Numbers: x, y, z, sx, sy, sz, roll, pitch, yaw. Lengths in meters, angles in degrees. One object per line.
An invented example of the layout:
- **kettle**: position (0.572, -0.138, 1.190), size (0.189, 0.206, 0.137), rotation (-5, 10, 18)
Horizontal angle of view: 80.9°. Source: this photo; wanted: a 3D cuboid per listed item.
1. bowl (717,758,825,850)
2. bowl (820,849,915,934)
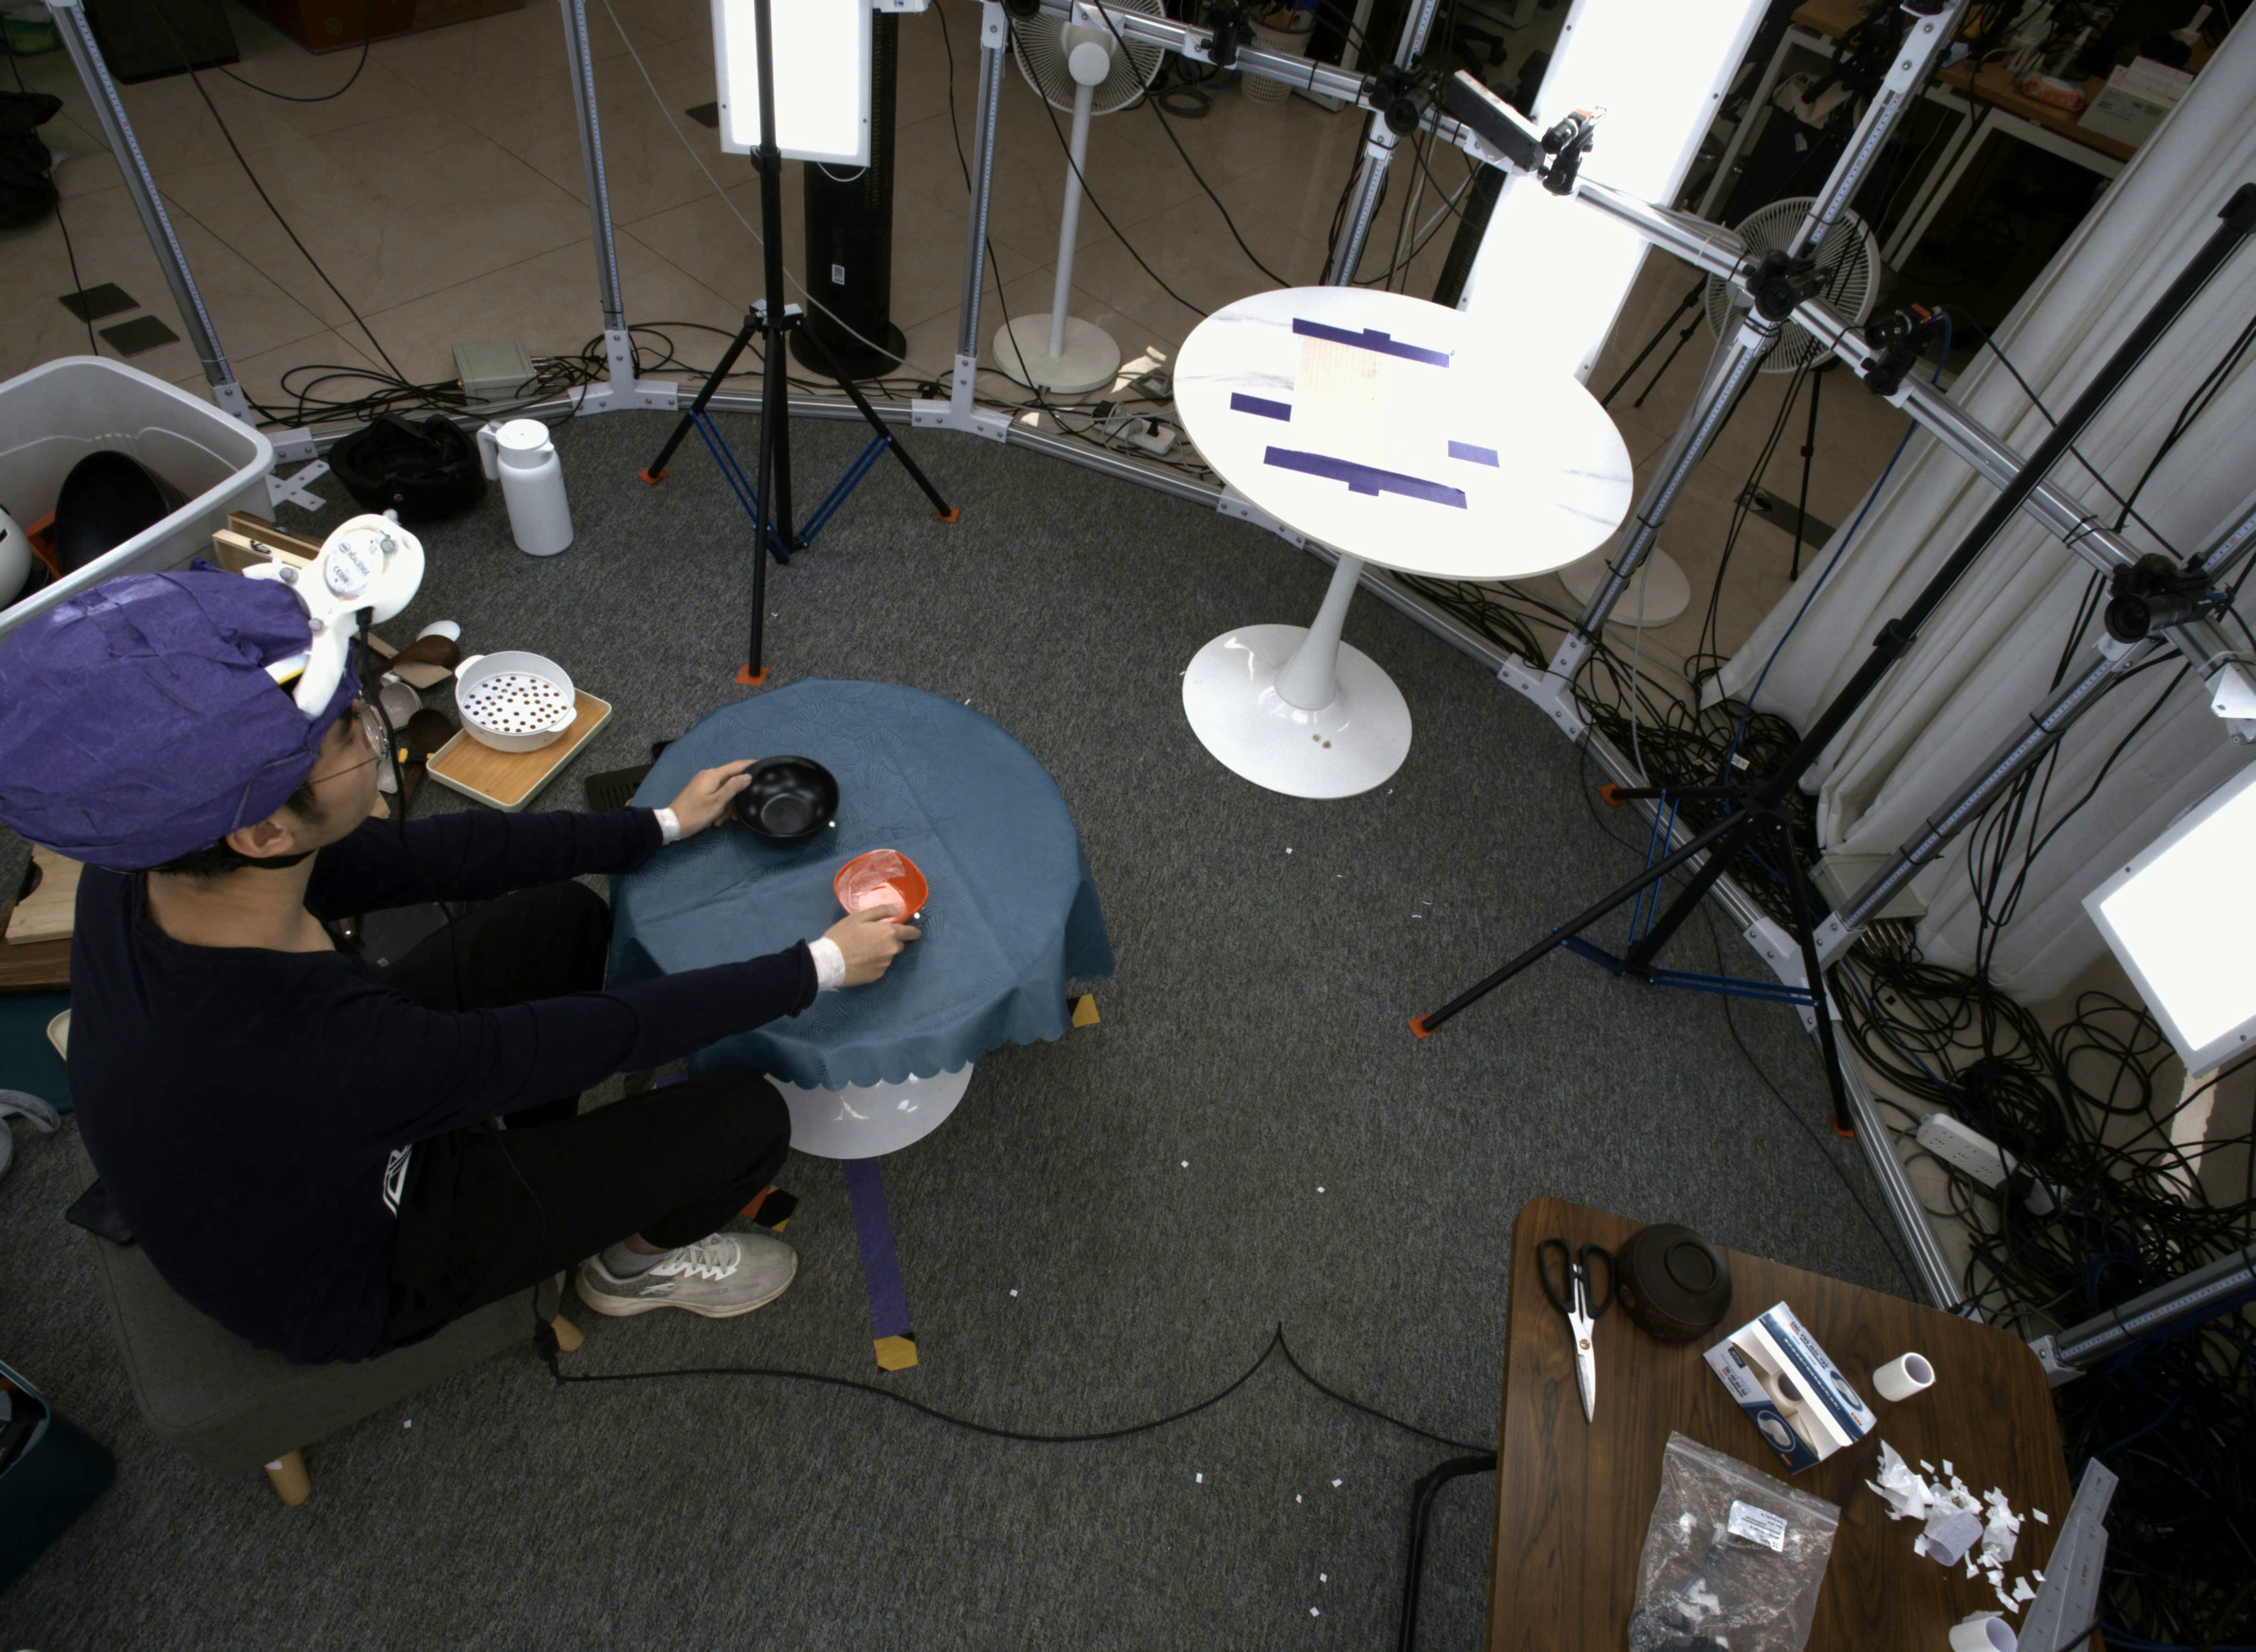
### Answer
- **bowl**: position (-0.469, -0.022, 1.711), size (0.139, 0.051, 0.138), rotation (6, 56, -7)
- **bowl**: position (-0.332, 0.091, 1.657), size (0.119, 0.052, 0.117), rotation (9, 52, -10)
